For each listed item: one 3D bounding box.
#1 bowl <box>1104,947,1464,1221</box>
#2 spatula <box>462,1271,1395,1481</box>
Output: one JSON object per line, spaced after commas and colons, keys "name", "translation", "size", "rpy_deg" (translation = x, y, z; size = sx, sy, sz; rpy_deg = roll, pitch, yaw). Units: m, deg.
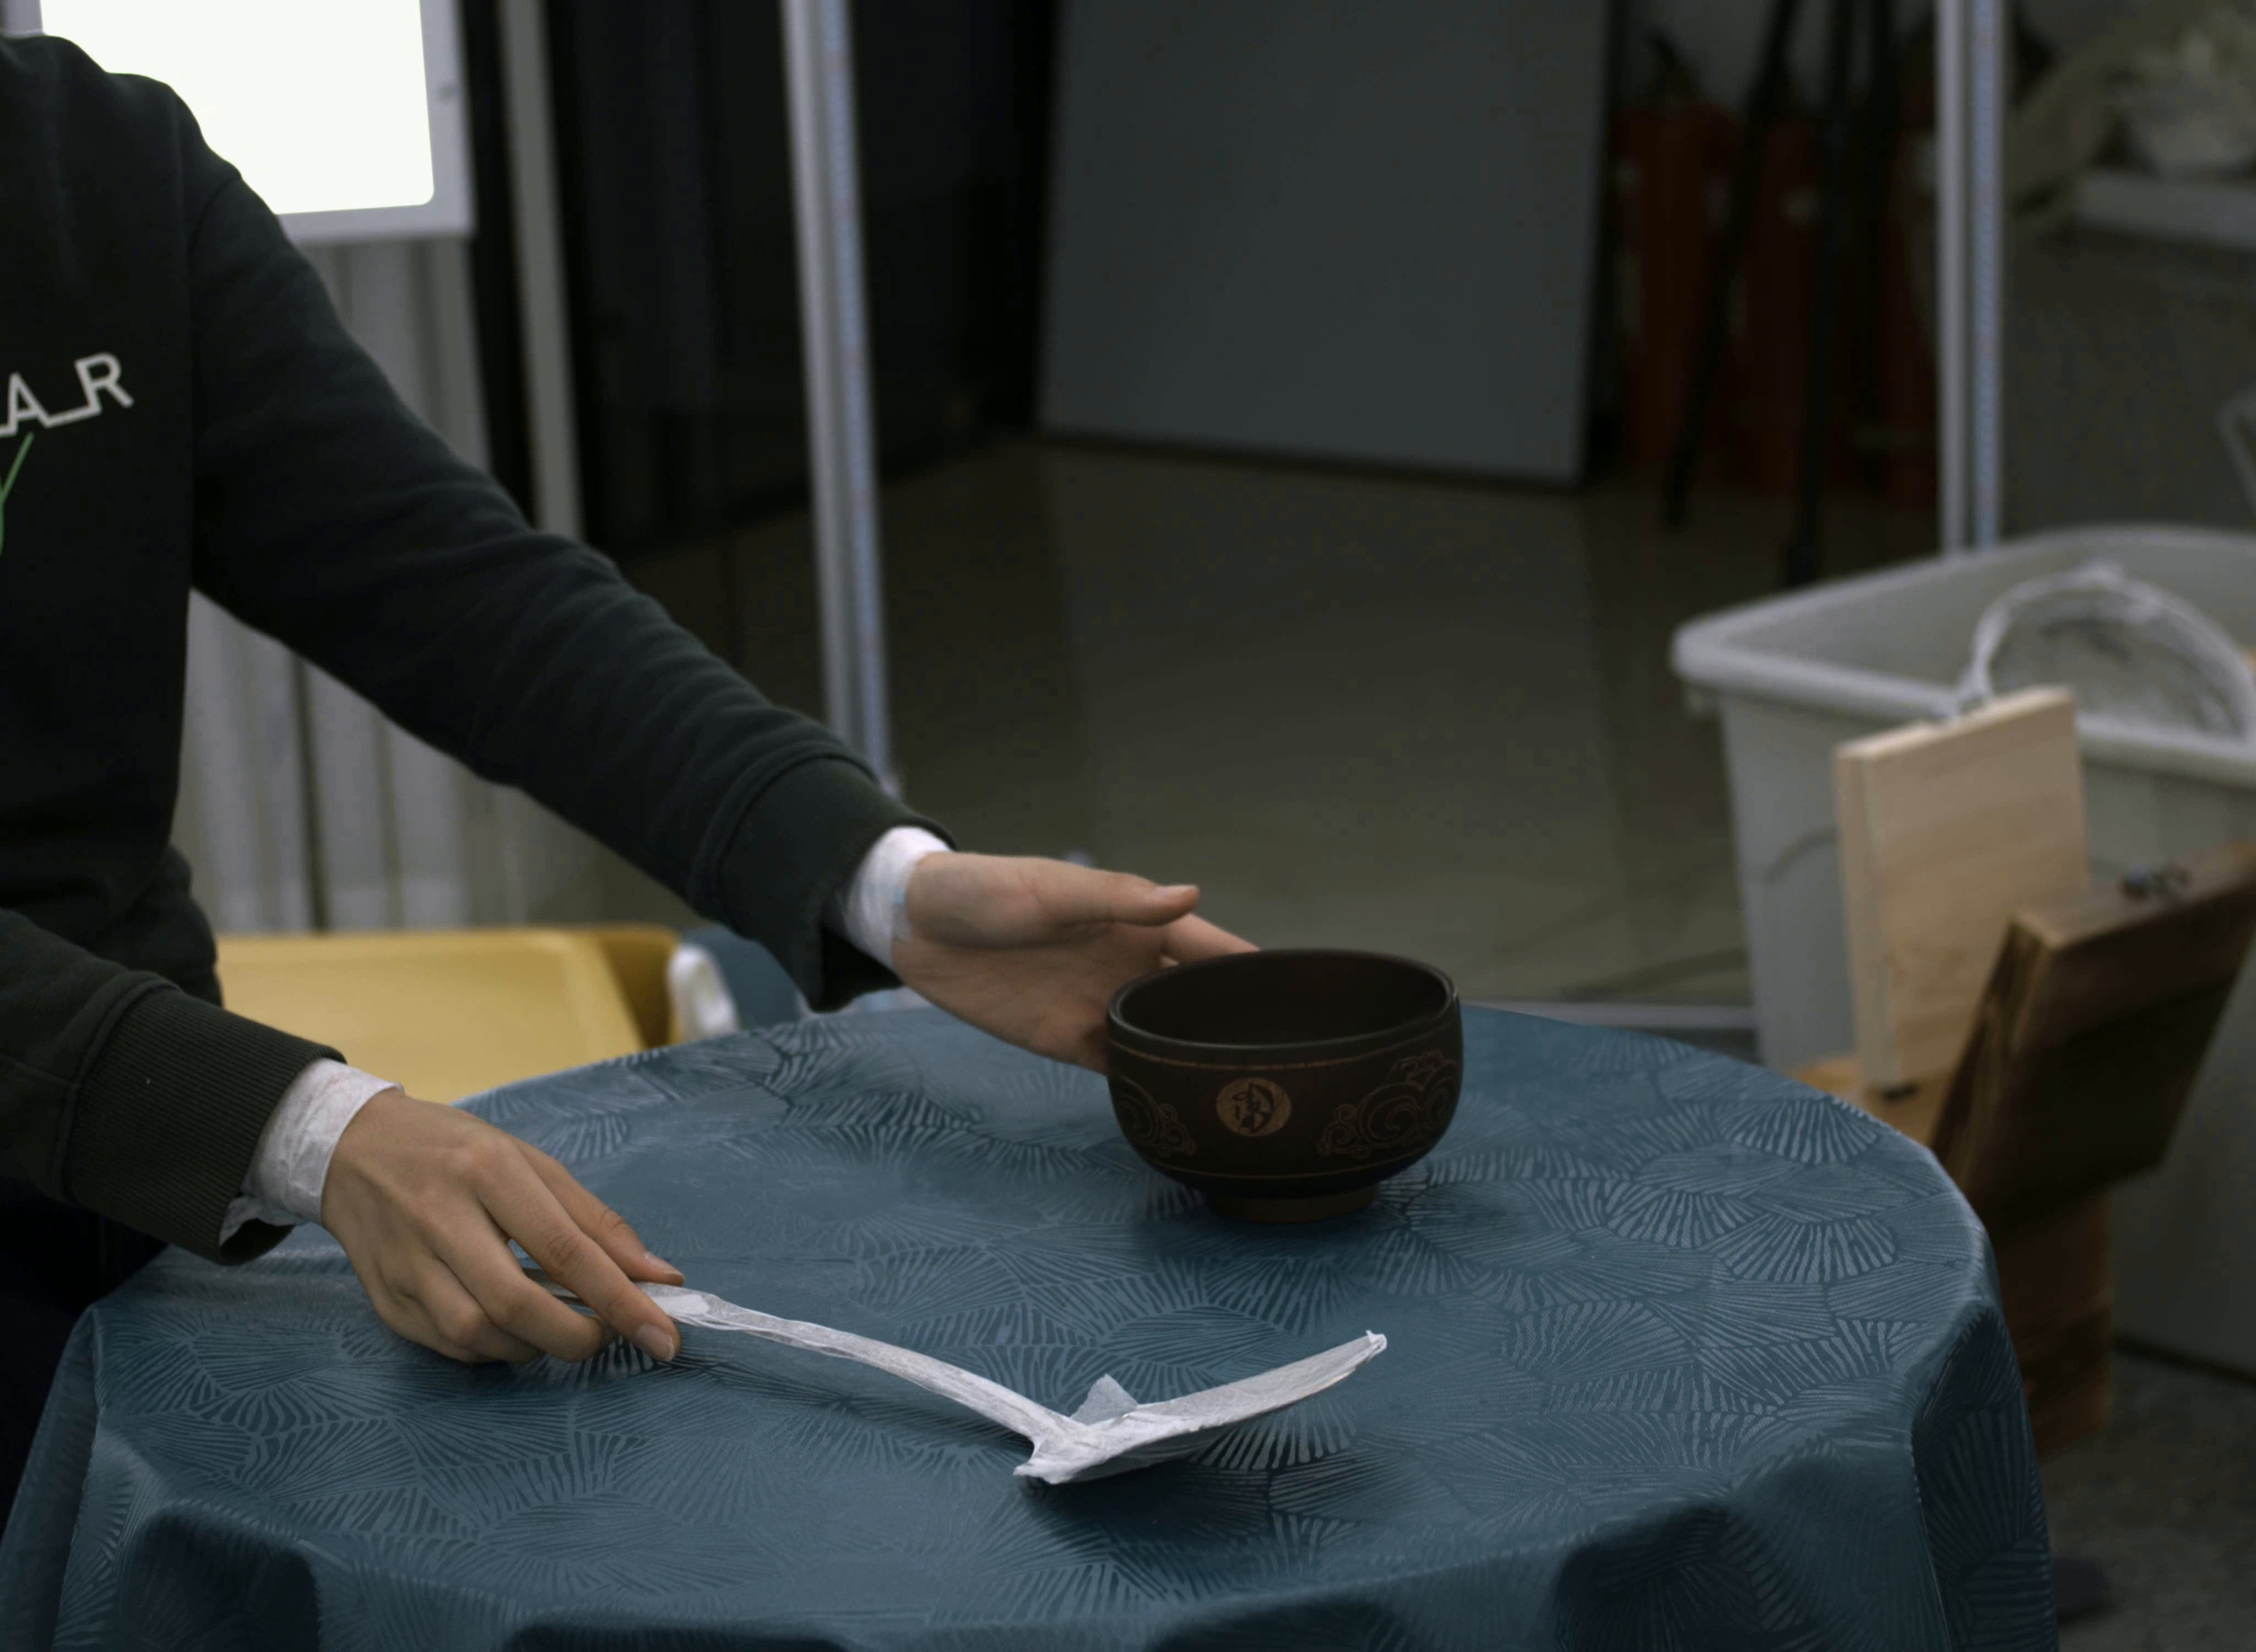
{"name": "bowl", "translation": [0.051, 0.087, 1.746], "size": [0.116, 0.070, 0.118], "rpy_deg": [-4, 12, 0]}
{"name": "spatula", "translation": [-0.080, 0.151, 1.597], "size": [0.368, 0.045, 0.097], "rpy_deg": [8, 20, 41]}
